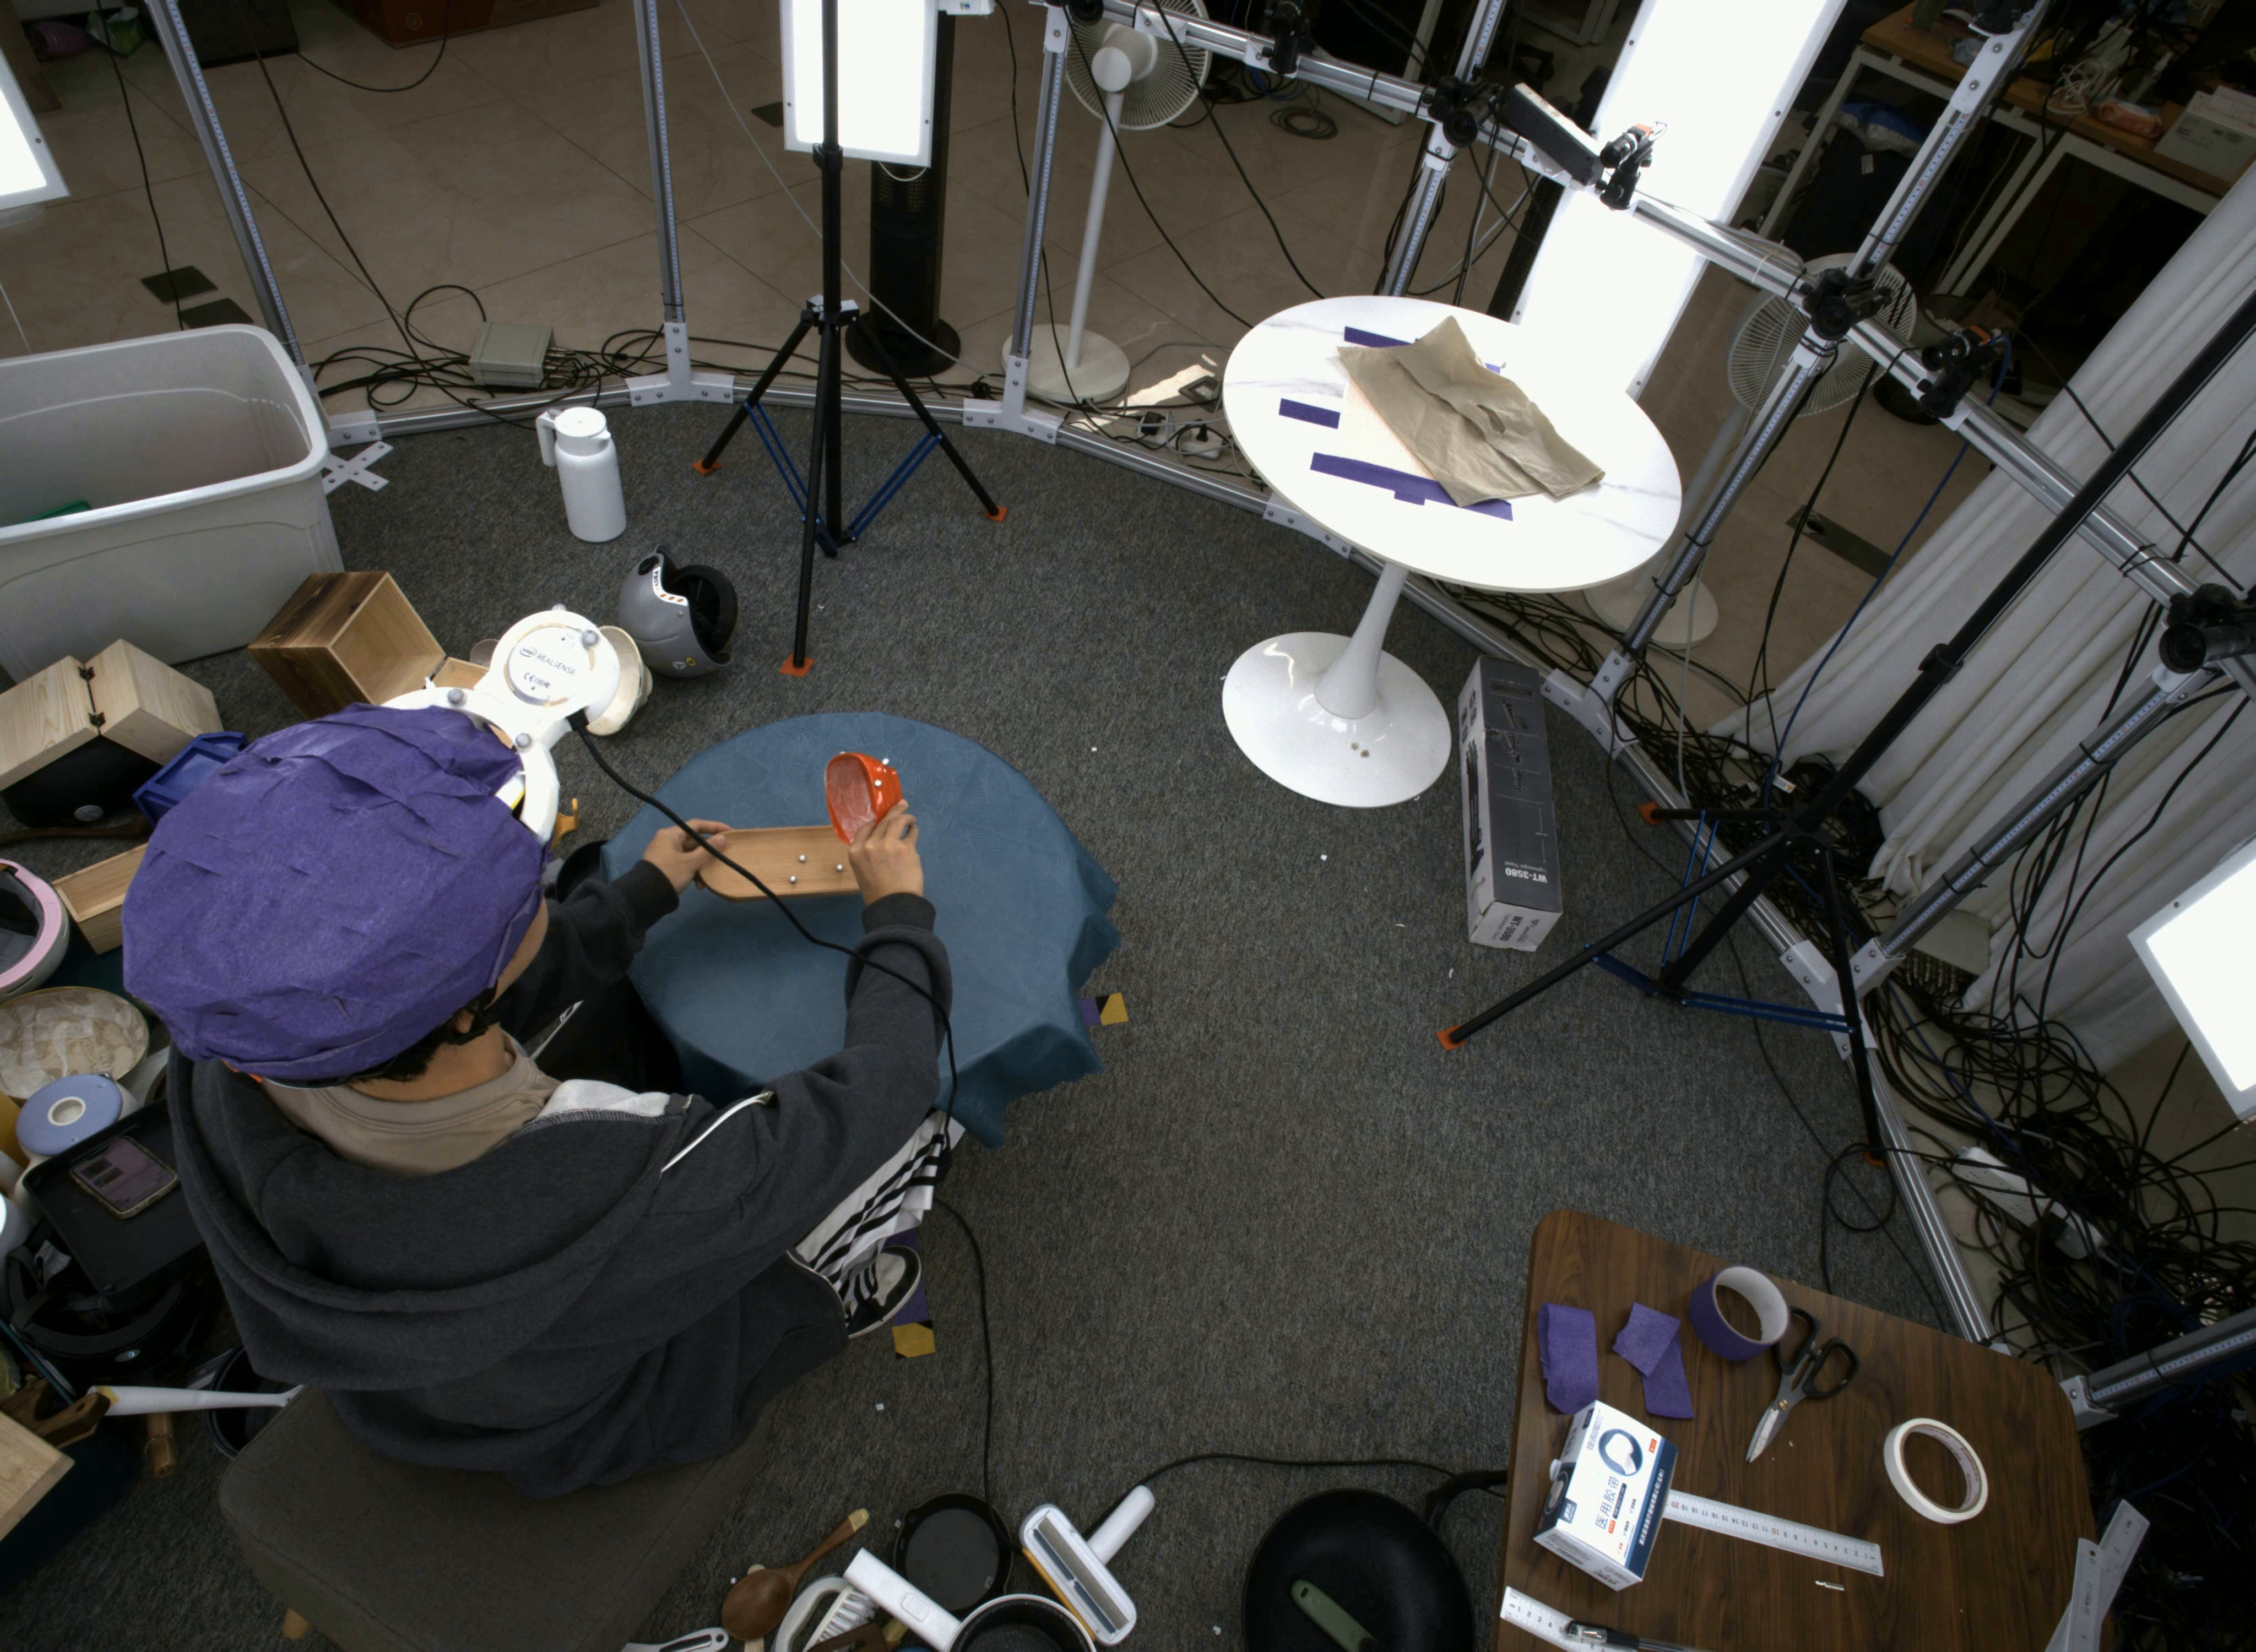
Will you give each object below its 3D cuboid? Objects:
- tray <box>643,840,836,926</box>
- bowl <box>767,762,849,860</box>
[{"bbox_3d":[-0.468,0.066,1.563,0.233,0.020,0.099,-7,57,-29],"label":"tray"},{"bbox_3d":[-0.363,-0.021,1.492,0.052,0.120,0.116,-16,55,-46],"label":"bowl"}]
